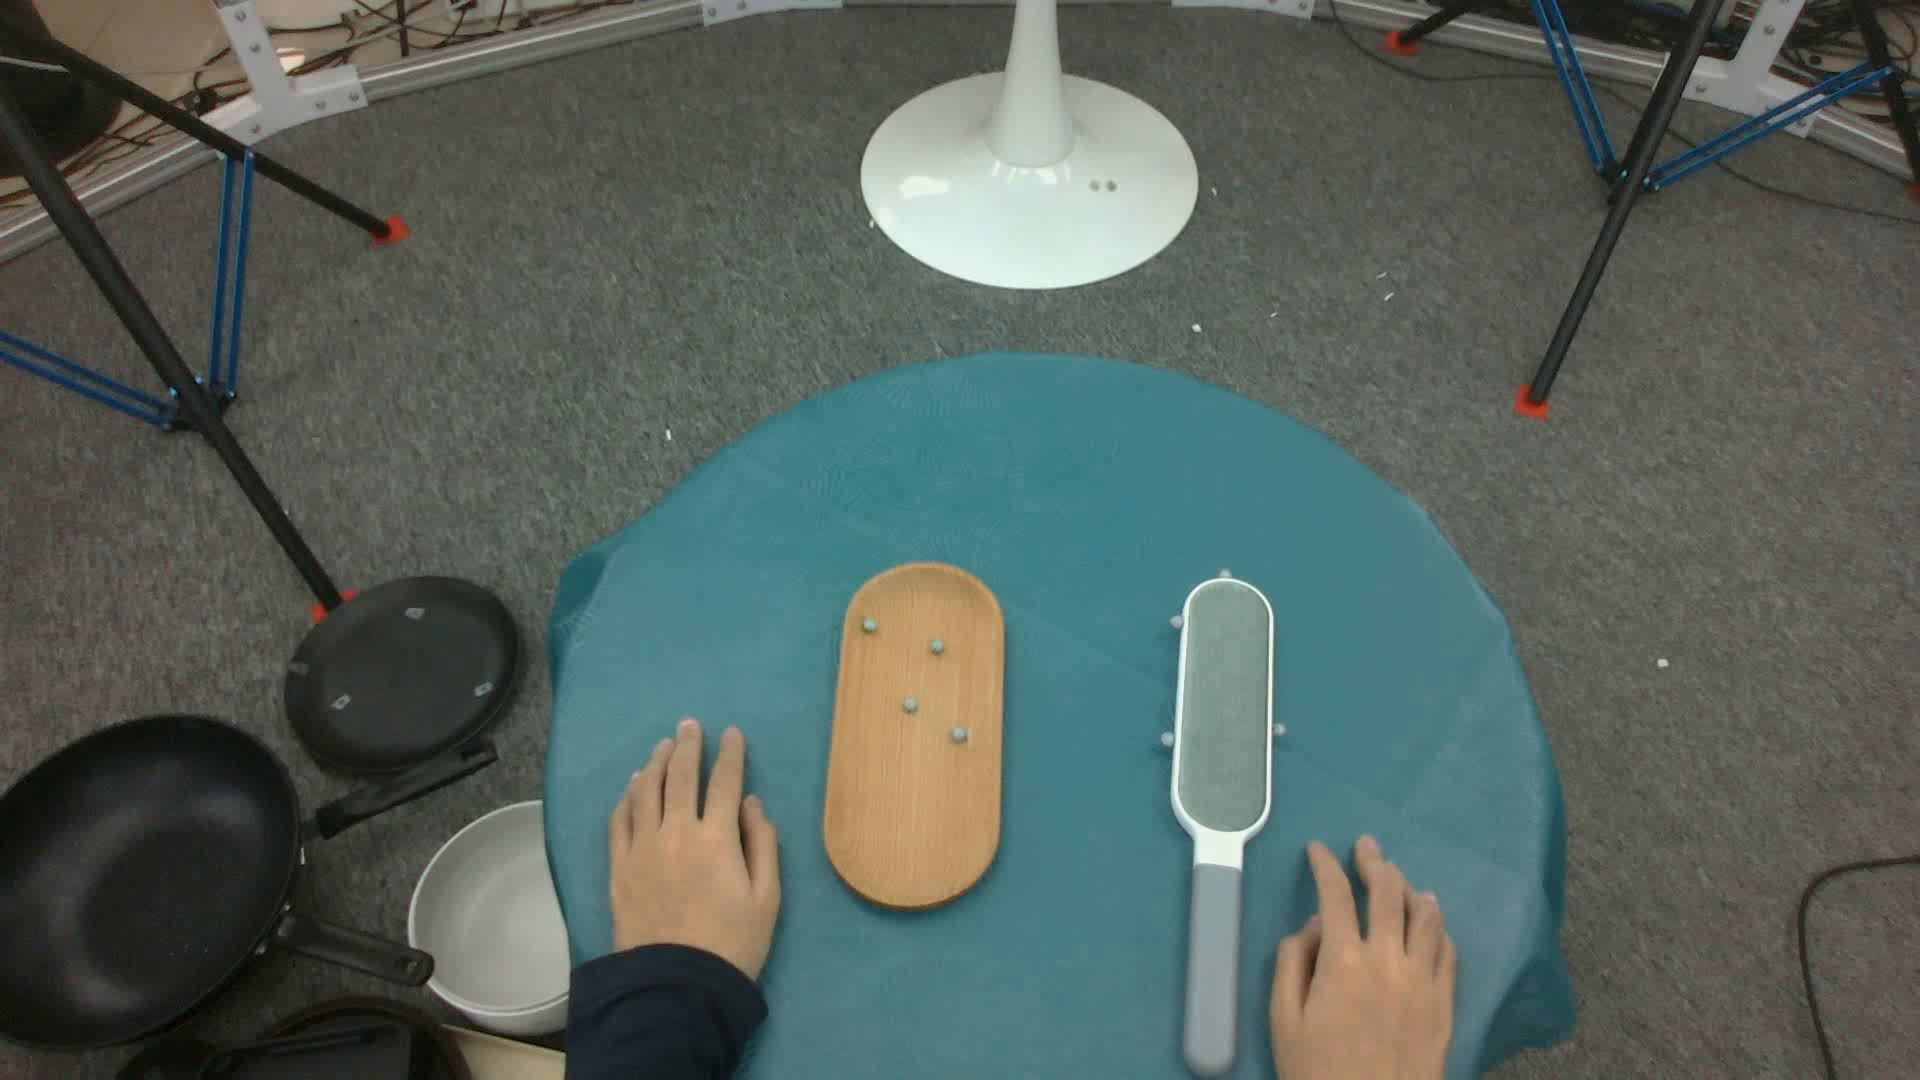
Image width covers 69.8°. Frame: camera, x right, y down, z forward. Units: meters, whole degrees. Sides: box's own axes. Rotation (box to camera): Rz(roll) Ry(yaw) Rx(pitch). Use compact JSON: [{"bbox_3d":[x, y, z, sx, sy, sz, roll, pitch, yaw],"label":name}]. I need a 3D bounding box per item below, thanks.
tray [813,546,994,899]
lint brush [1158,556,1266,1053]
[{"bbox_3d":[-0.031,0.101,0.817,0.101,0.020,0.232,0,55,1],"label":"tray"},{"bbox_3d":[0.142,0.136,0.789,0.060,0.021,0.310,11,54,0],"label":"lint brush"}]
